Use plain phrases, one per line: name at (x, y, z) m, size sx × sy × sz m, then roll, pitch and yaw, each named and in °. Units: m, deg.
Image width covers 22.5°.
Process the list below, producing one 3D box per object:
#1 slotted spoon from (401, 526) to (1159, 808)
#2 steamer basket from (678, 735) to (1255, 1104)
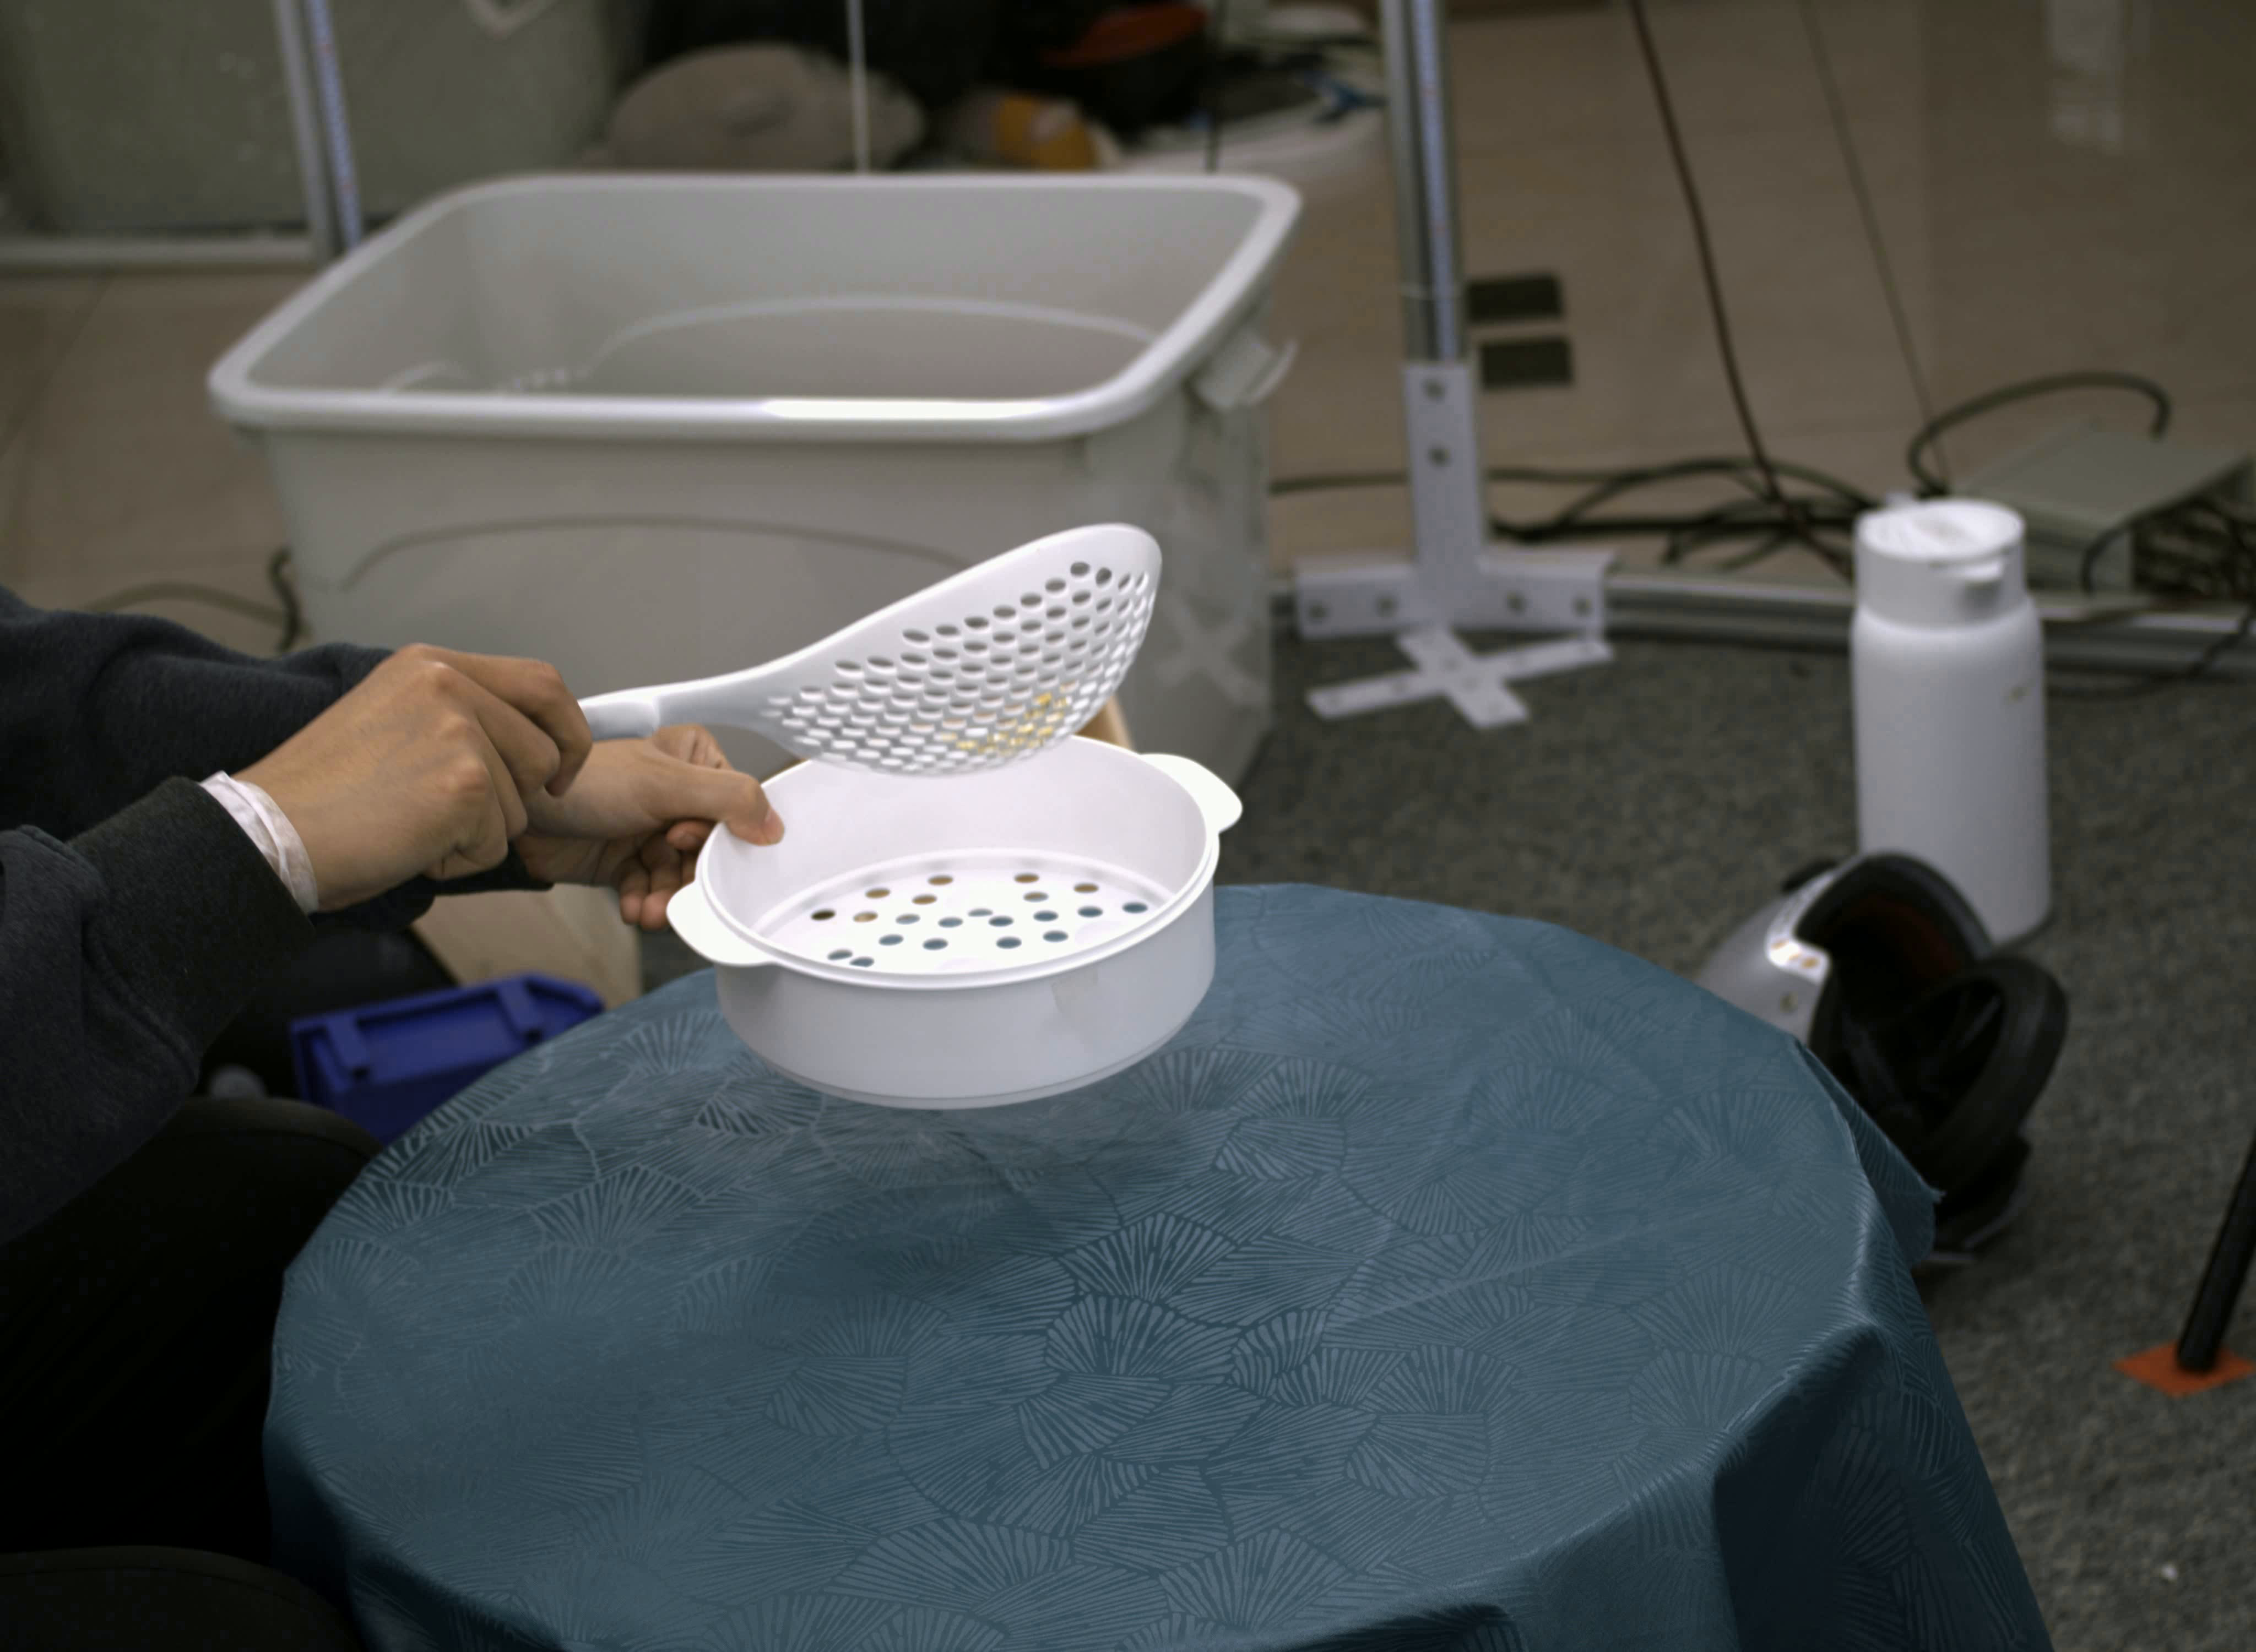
slotted spoon at (-0.123, -0.039, 2.008) m, size 0.347 × 0.139 × 0.050 m, roll -7°, pitch 58°, yaw -40°
steamer basket at (-0.059, 0.035, 2.179) m, size 0.229 × 0.070 × 0.199 m, roll -15°, pitch 30°, yaw -23°
